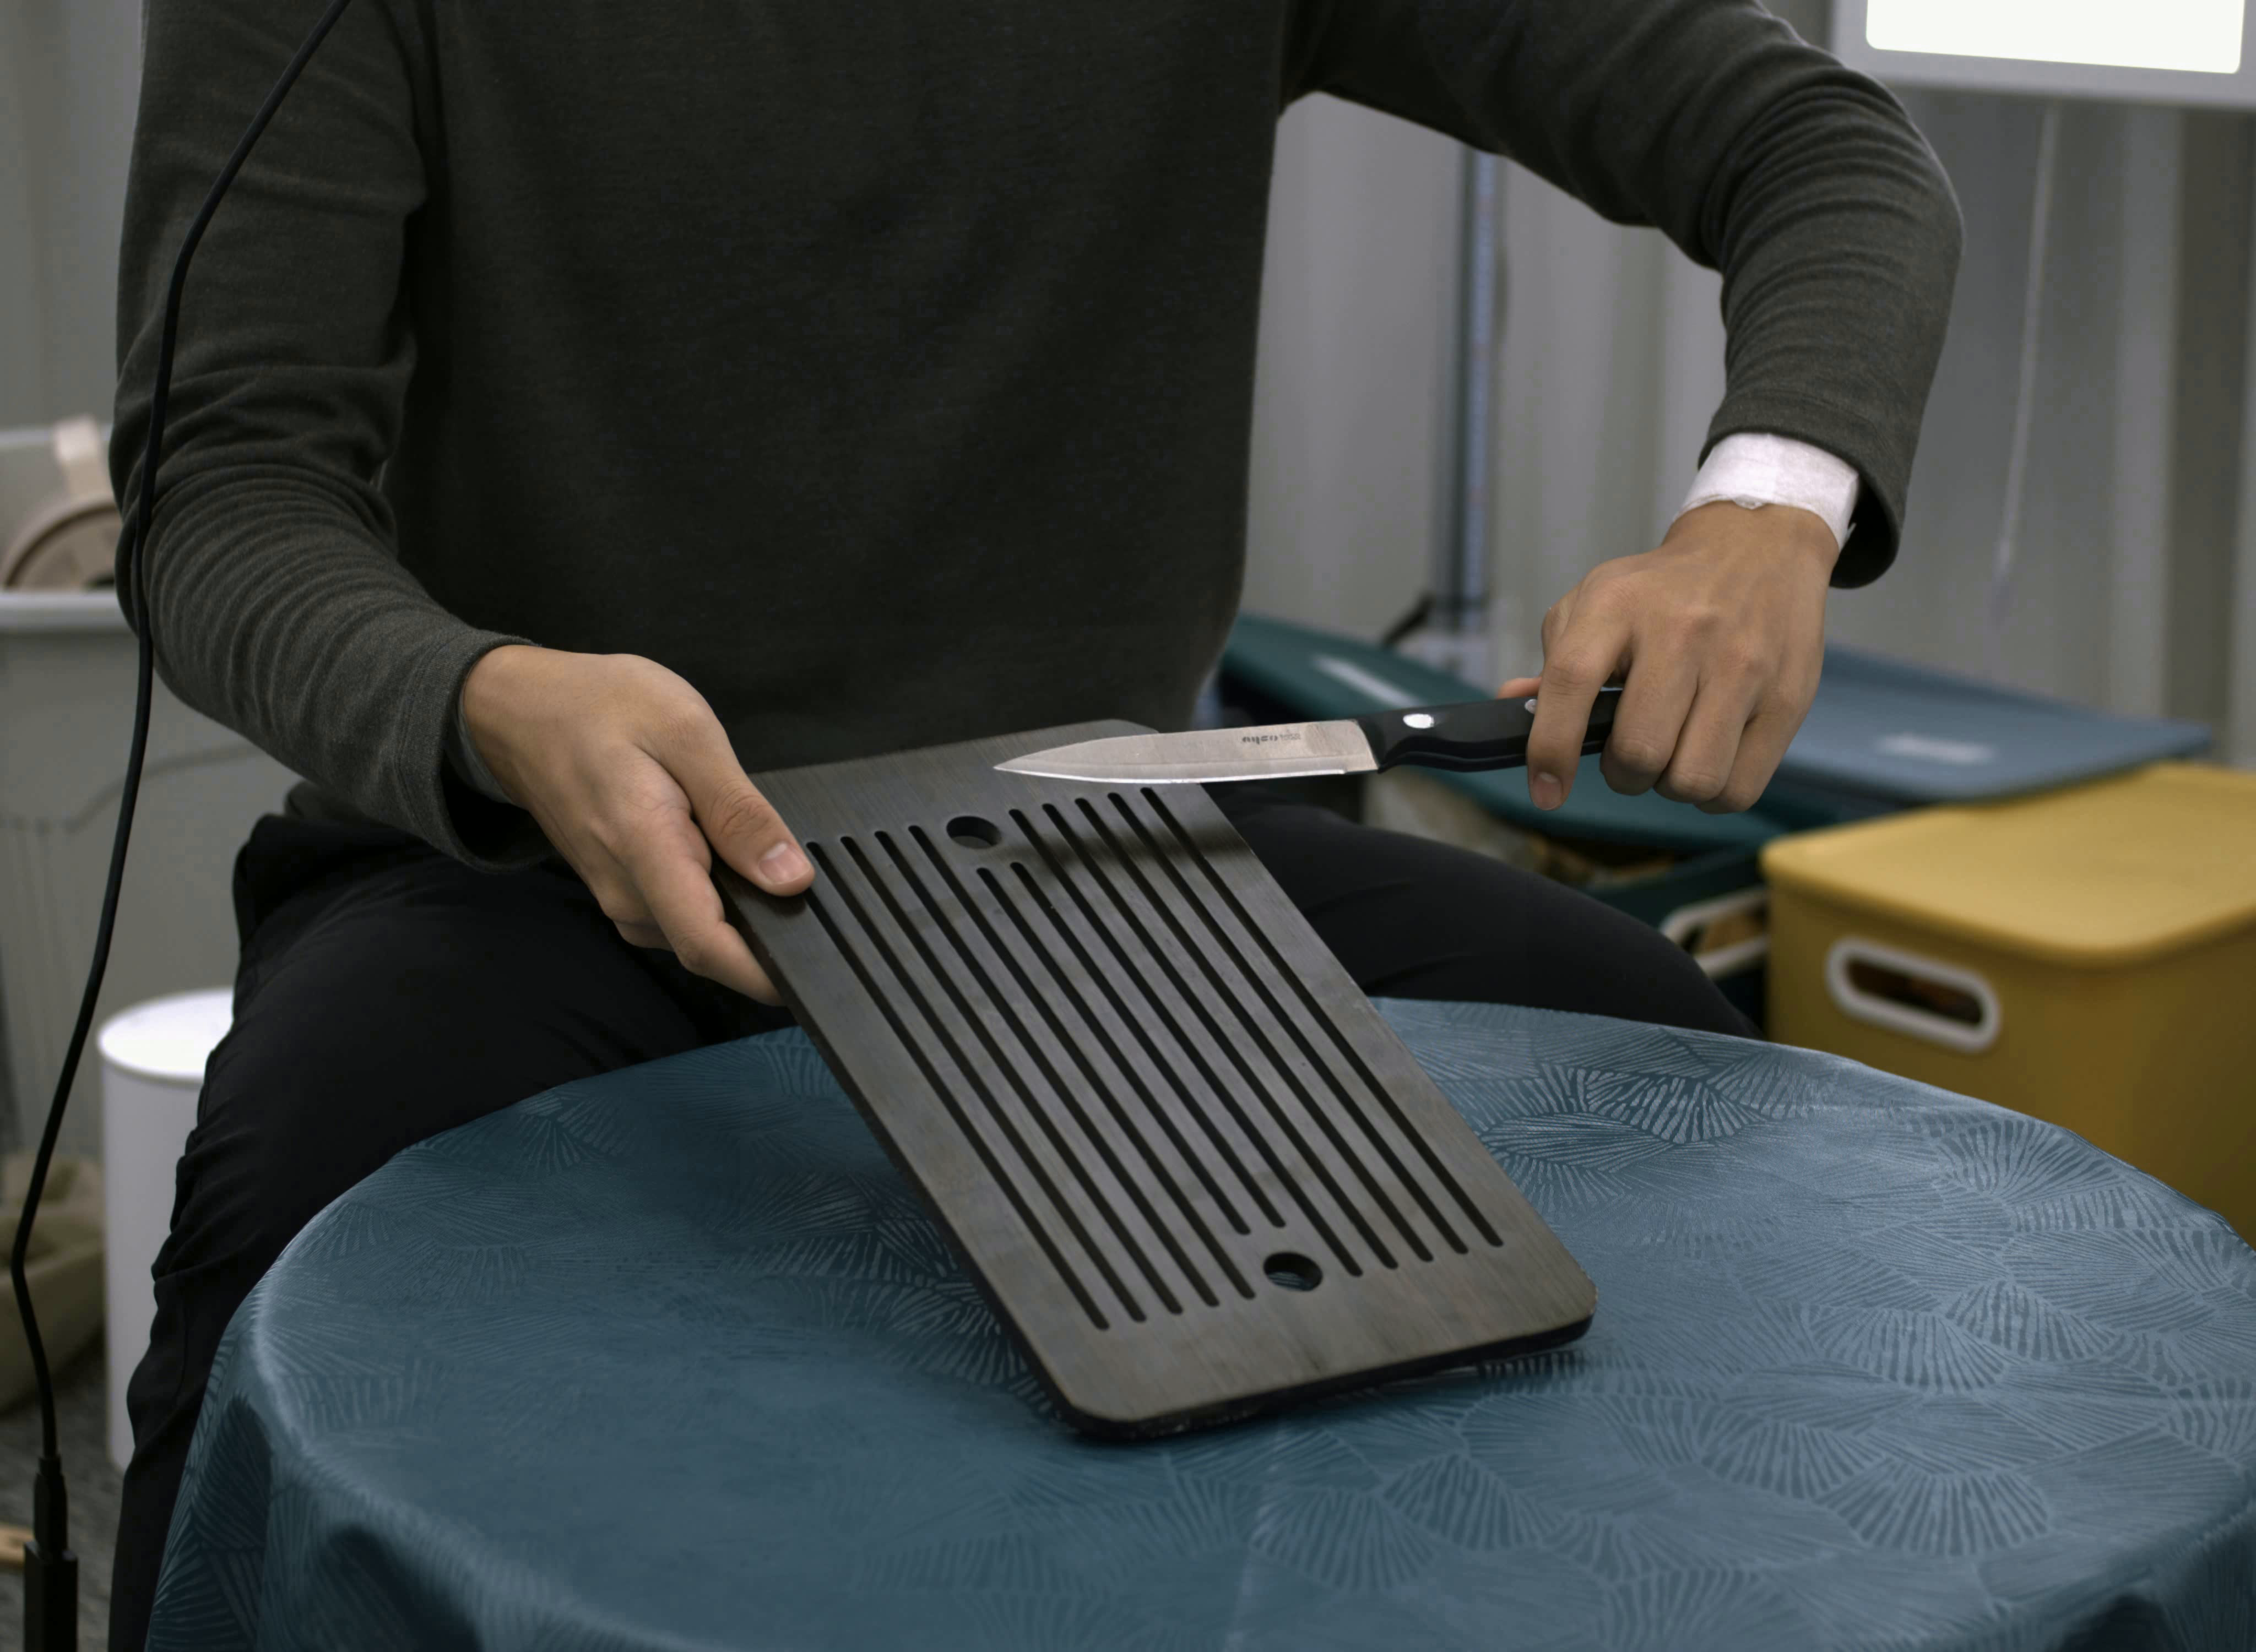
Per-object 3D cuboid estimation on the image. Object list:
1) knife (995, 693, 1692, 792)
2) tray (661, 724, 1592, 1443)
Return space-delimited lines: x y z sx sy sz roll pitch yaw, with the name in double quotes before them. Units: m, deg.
"knife" 0.069 -0.025 1.660 0.239 0.016 0.024 -5 49 -21
"tray" -0.006 0.070 1.552 0.171 0.019 0.302 -9 40 -27
